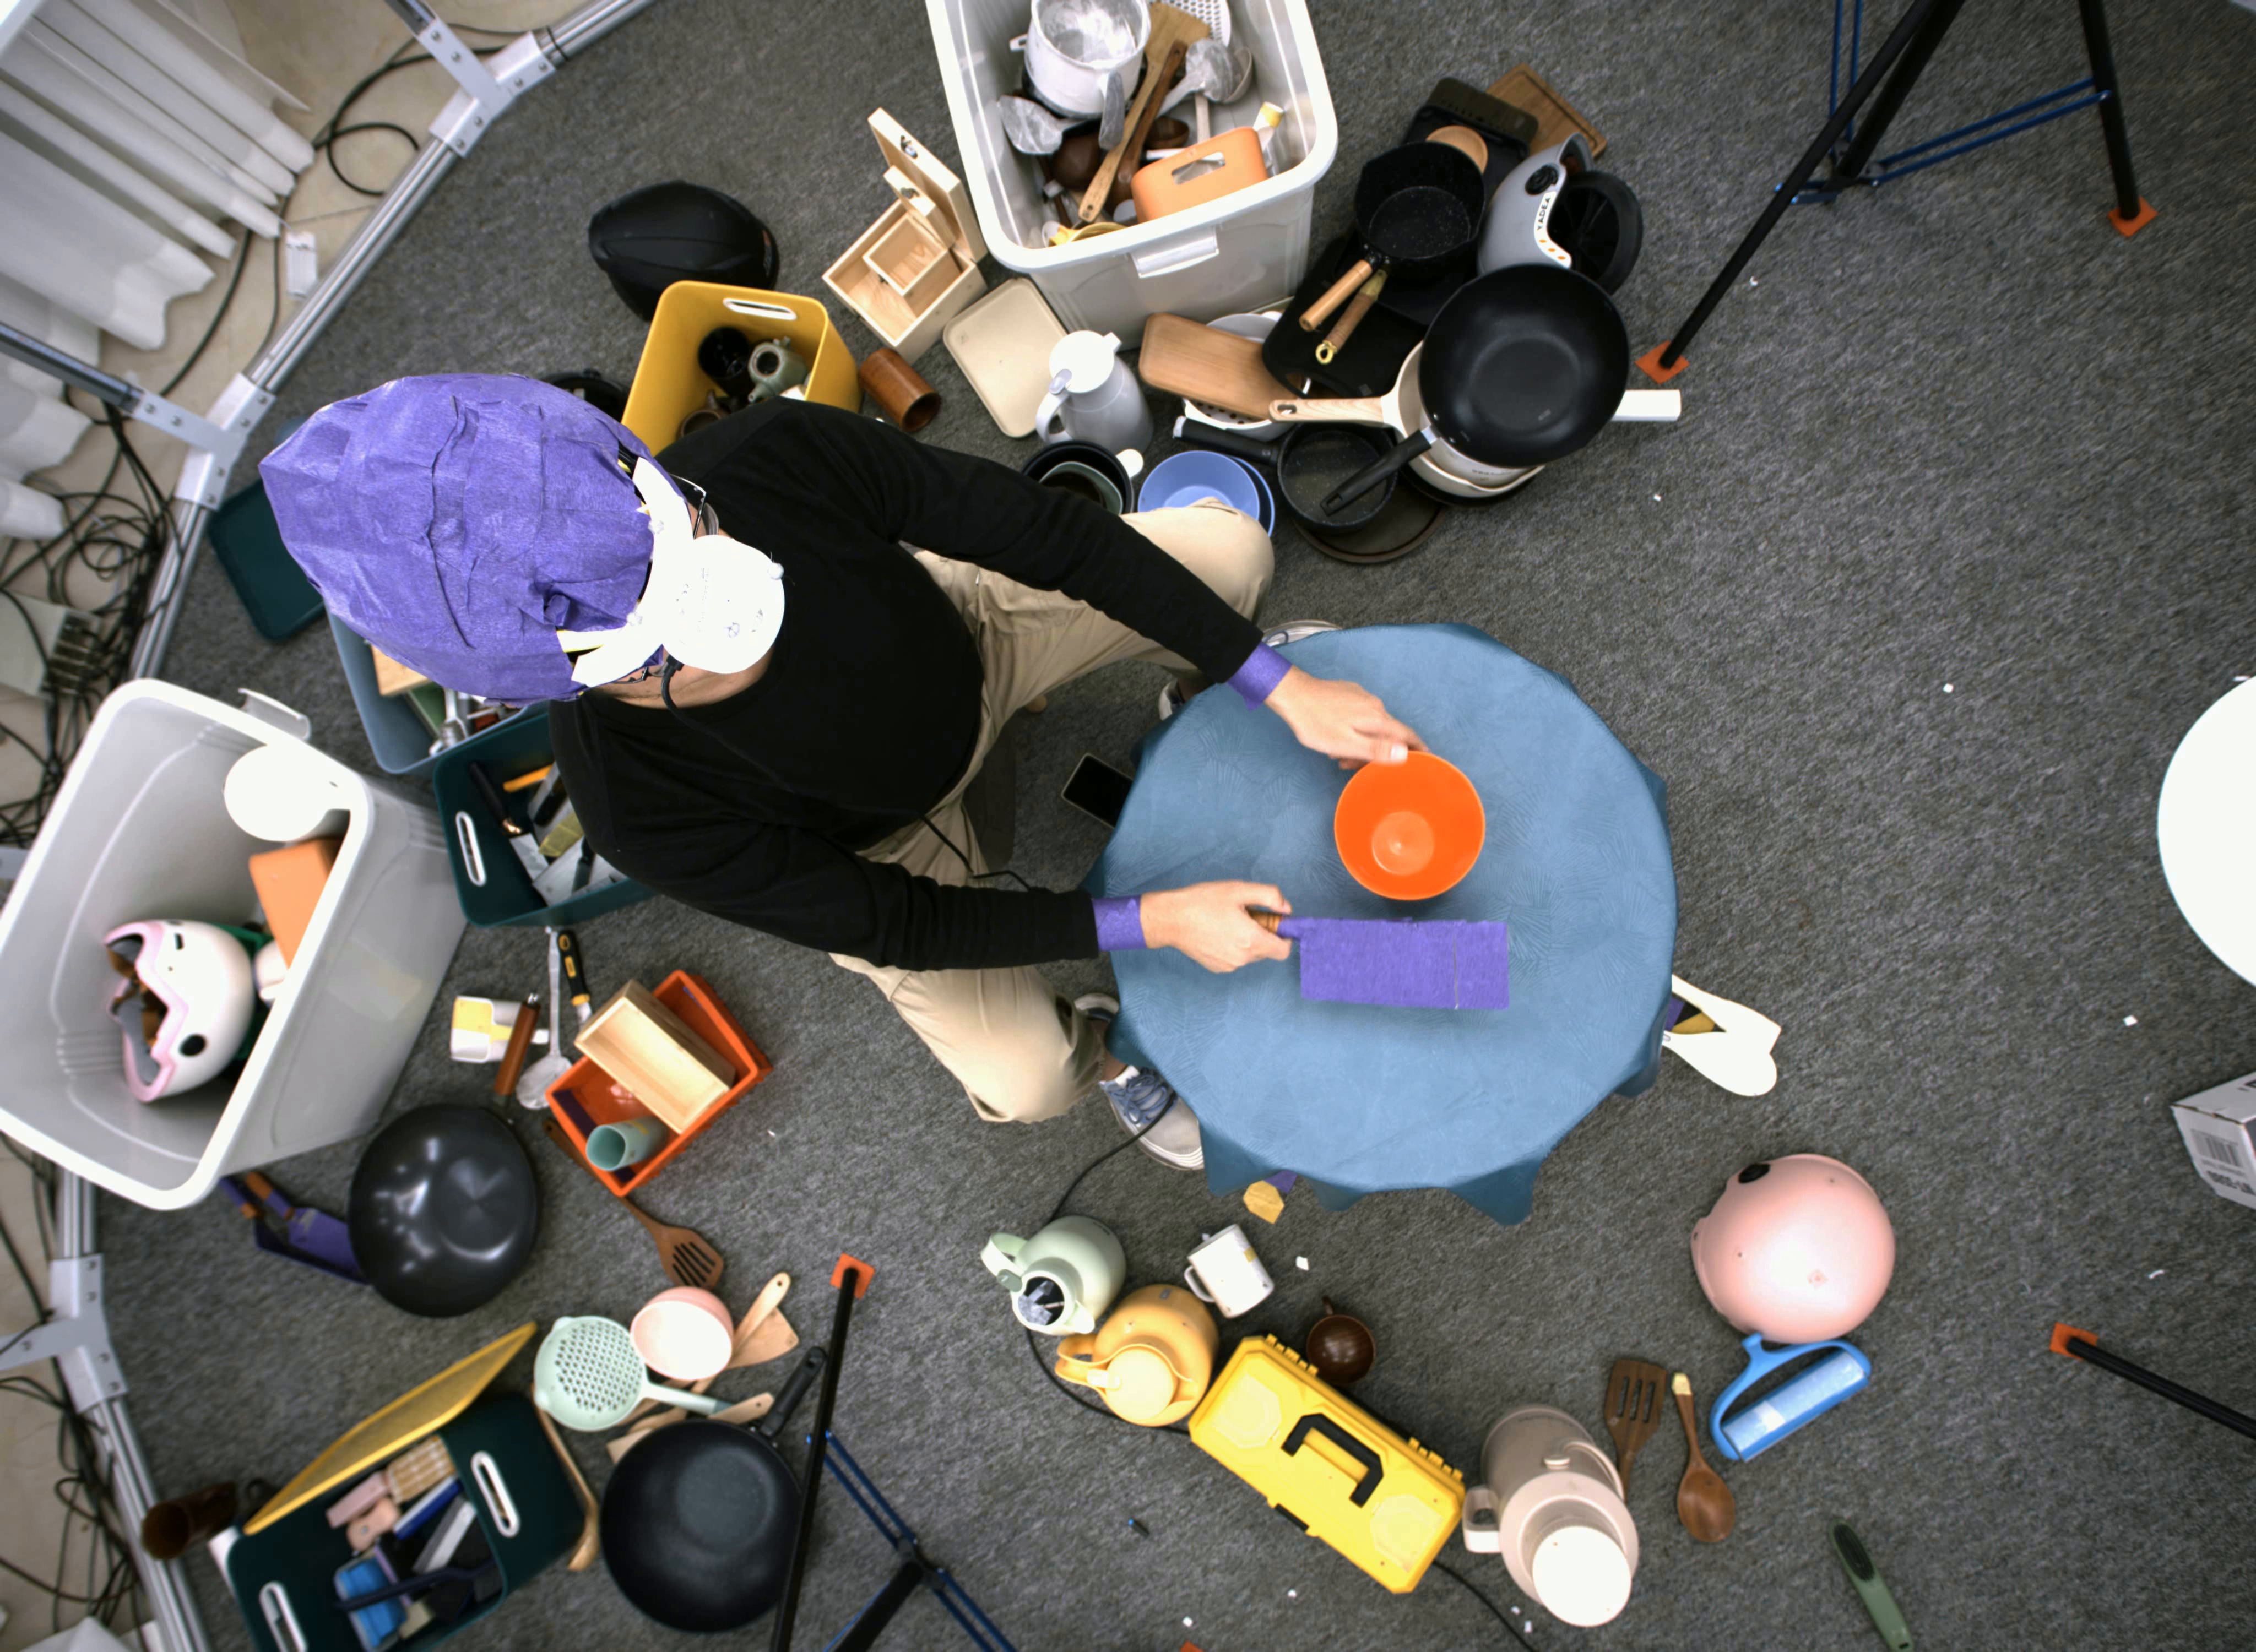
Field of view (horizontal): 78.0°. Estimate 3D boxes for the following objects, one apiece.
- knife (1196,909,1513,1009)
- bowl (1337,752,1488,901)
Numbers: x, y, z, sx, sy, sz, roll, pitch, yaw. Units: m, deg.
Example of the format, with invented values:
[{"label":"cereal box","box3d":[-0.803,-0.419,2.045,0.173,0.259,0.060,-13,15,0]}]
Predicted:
[{"label":"knife","box3d":[0.223,0.130,1.383,0.317,0.031,0.105,1,109,21]},{"label":"bowl","box3d":[0.286,0.004,1.407,0.148,0.105,0.147,-1,86,7]}]
